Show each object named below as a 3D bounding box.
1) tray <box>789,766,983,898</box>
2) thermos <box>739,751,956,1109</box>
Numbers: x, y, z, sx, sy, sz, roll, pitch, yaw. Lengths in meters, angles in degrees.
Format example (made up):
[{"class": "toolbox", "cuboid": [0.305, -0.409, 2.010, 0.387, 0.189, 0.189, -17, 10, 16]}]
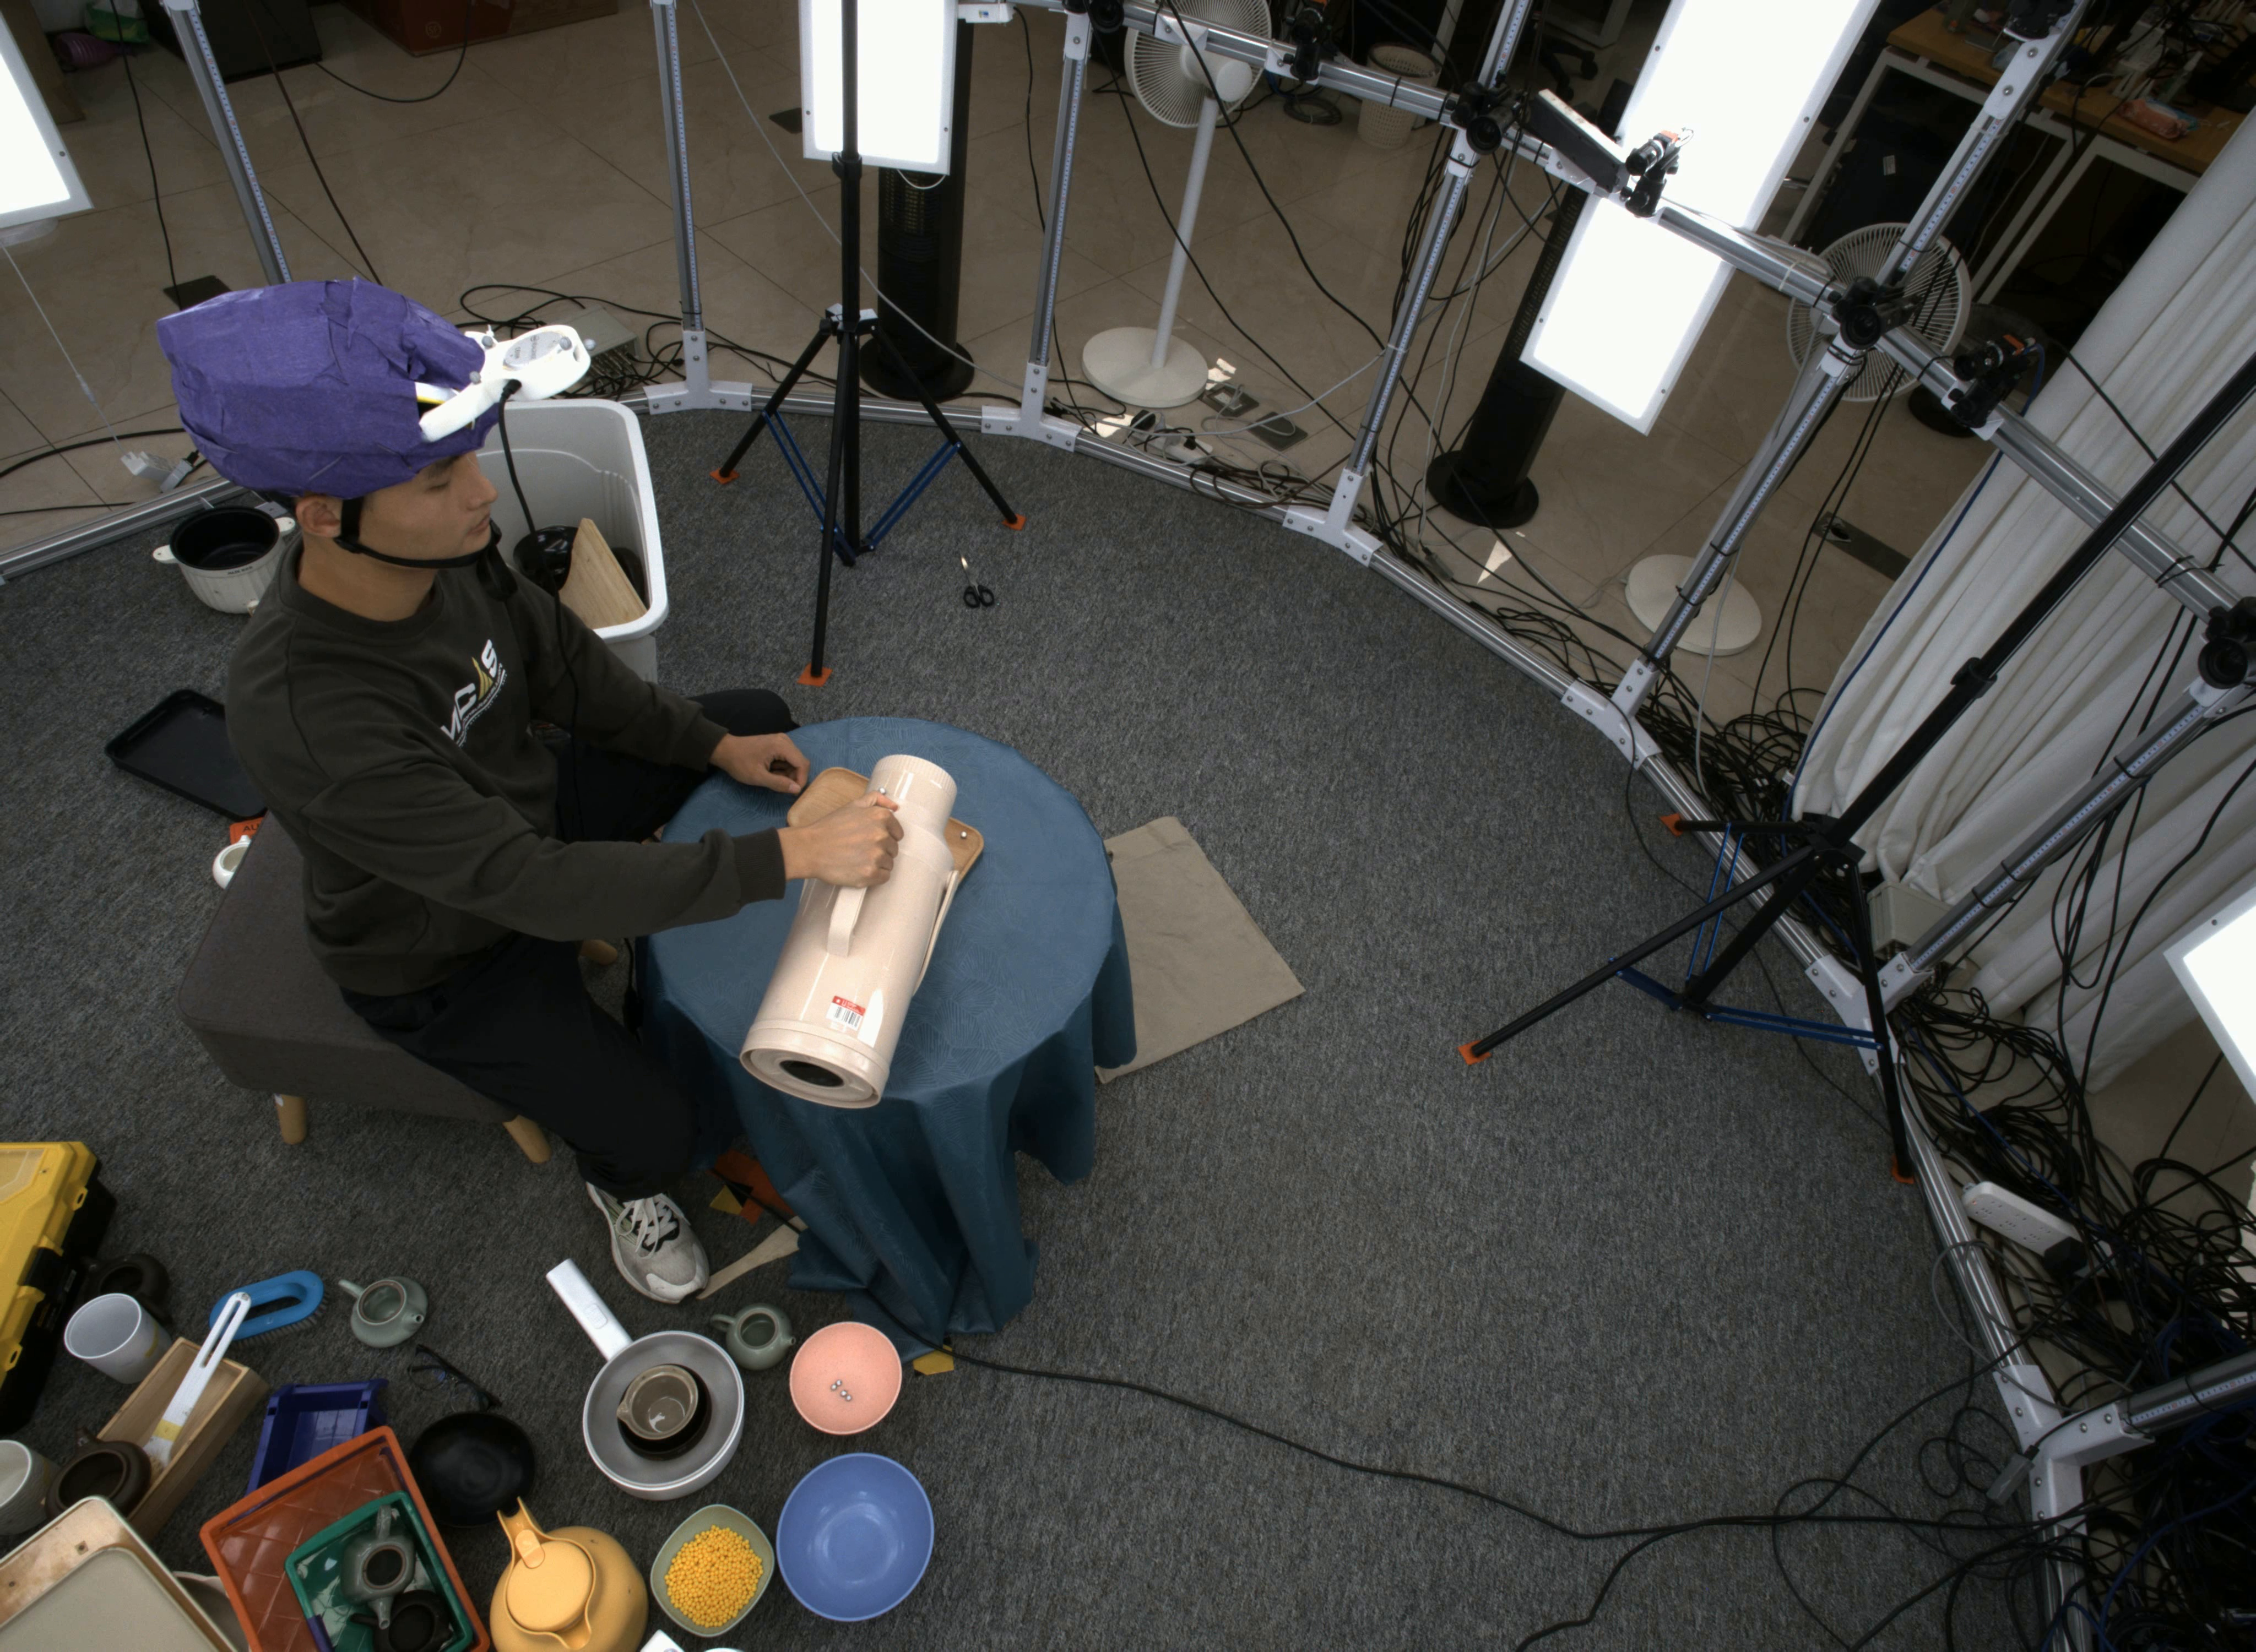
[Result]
[{"class": "tray", "cuboid": [-0.323, 0.008, 1.743, 0.247, 0.023, 0.130, 25, 50, 7]}, {"class": "thermos", "cuboid": [-0.306, 0.100, 1.491, 0.173, 0.211, 0.403, 14, 61, 2]}]
